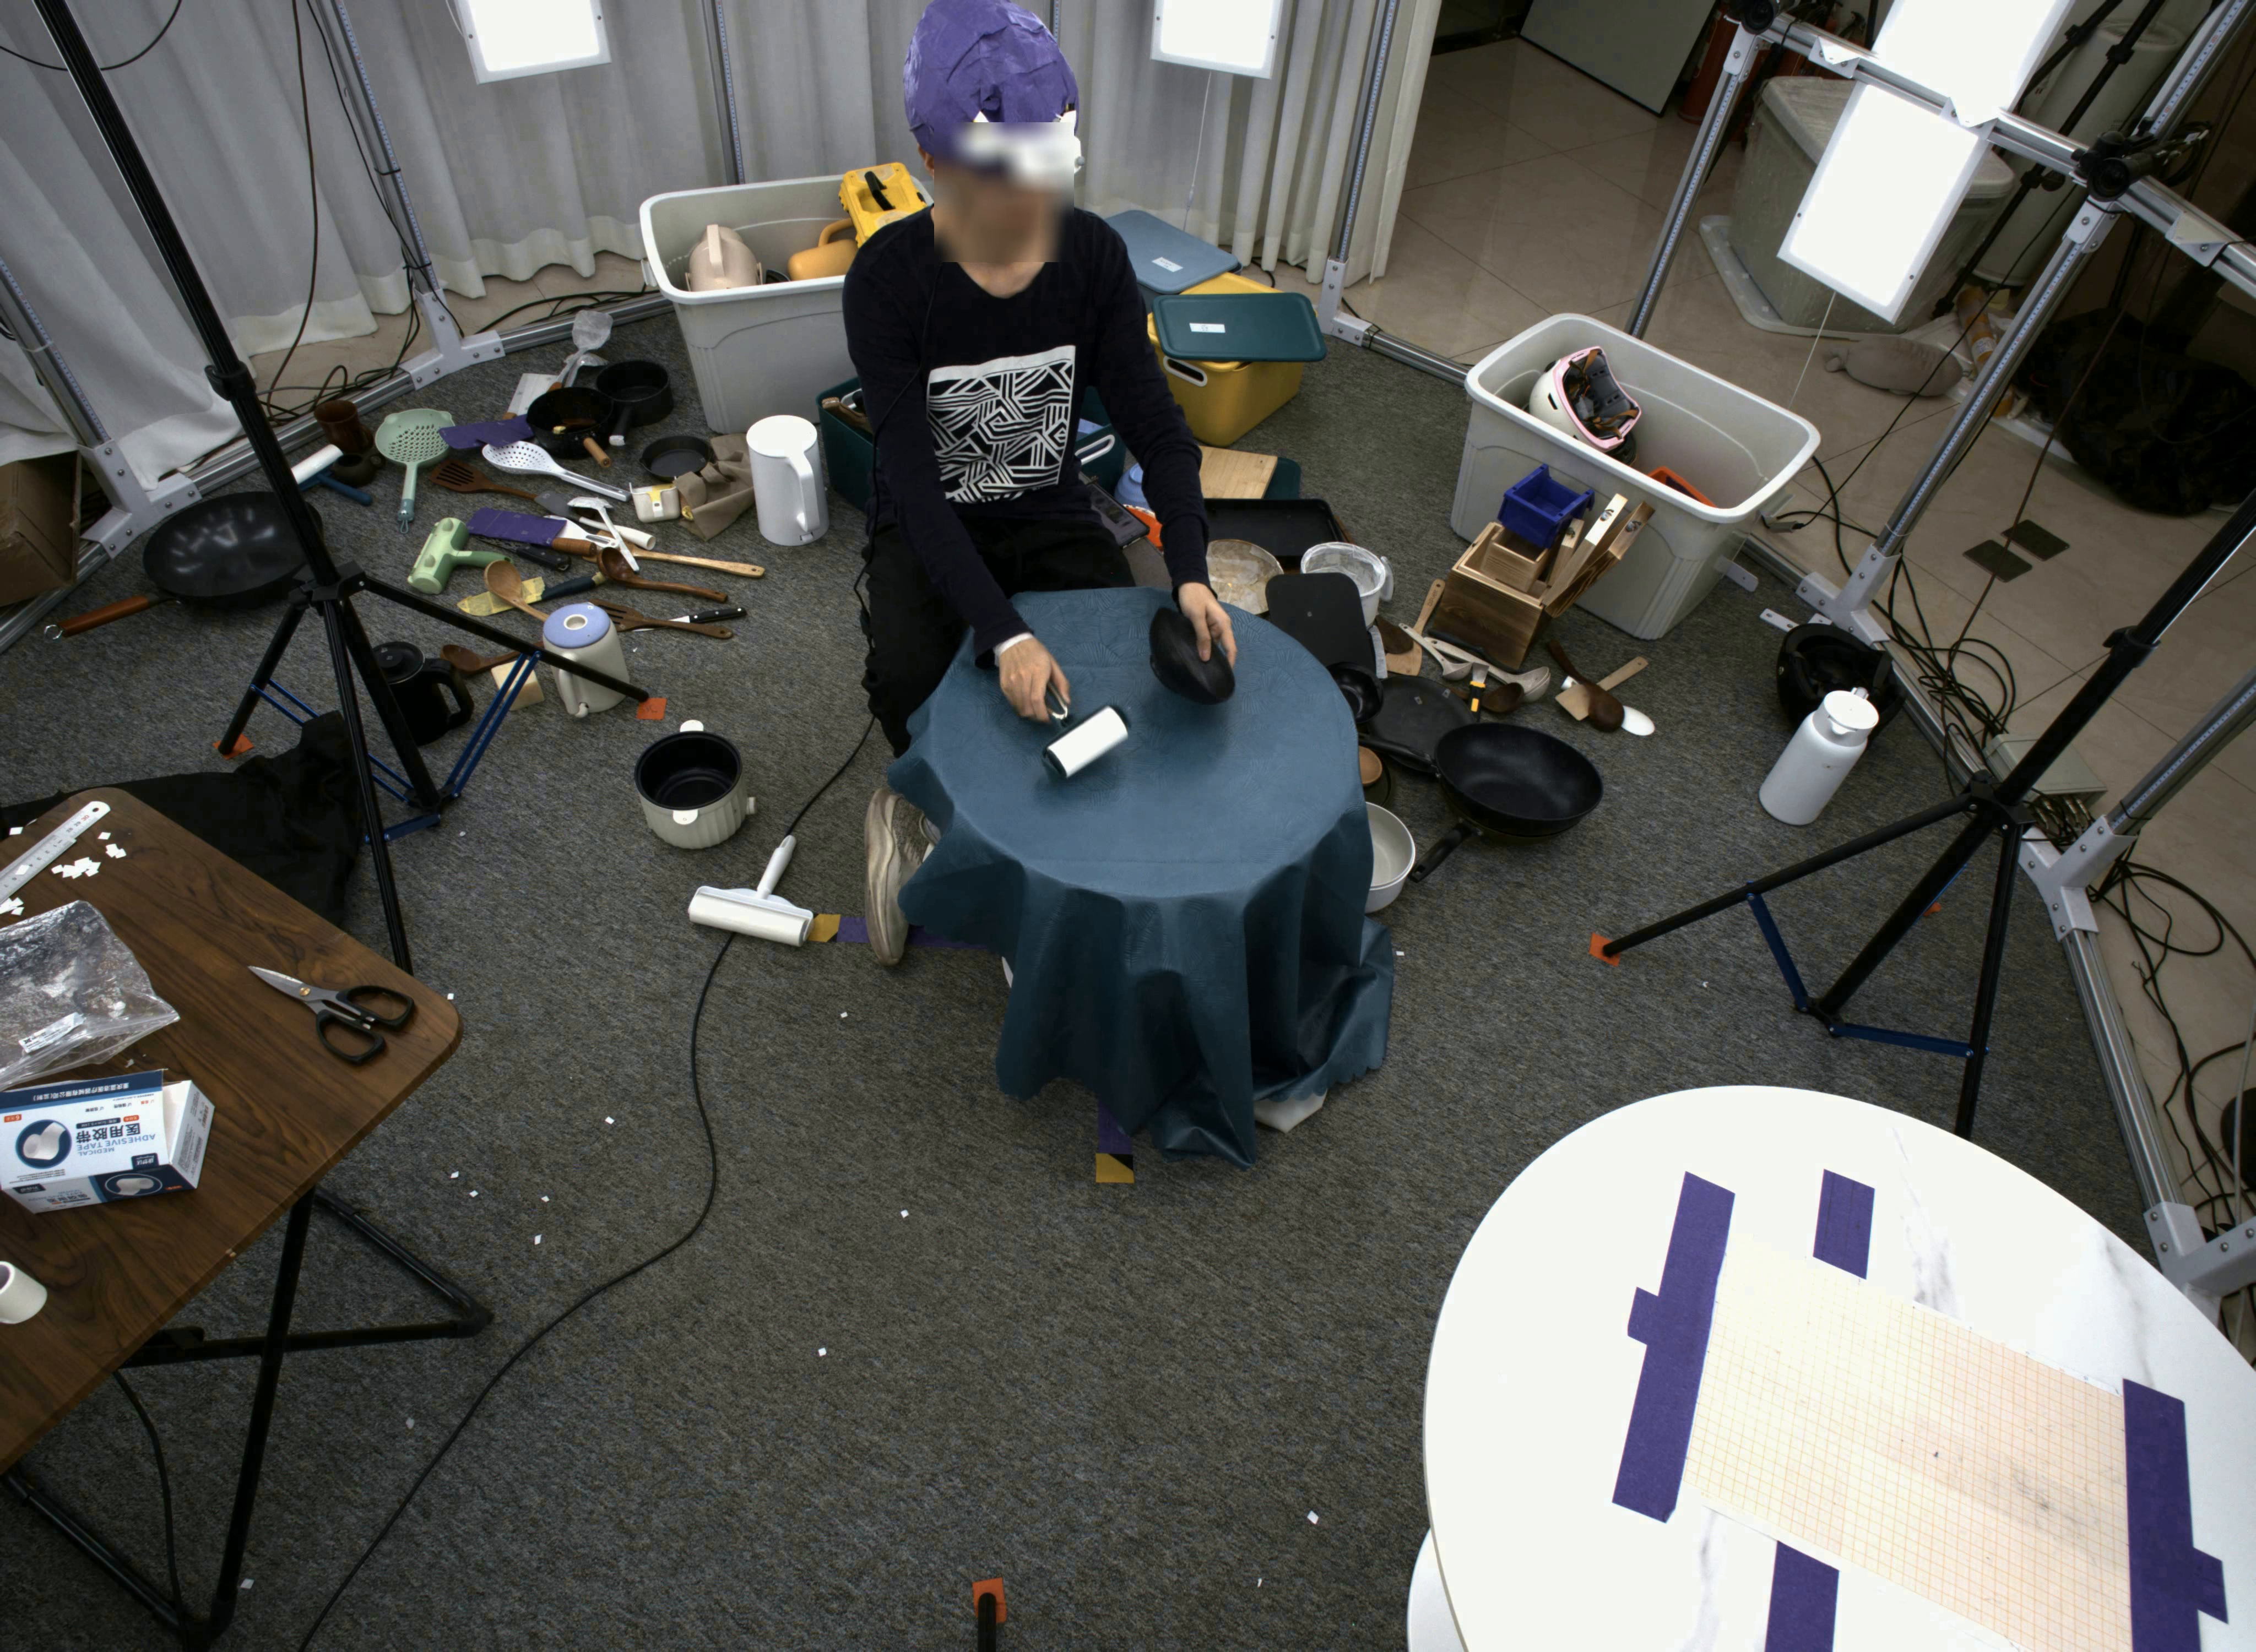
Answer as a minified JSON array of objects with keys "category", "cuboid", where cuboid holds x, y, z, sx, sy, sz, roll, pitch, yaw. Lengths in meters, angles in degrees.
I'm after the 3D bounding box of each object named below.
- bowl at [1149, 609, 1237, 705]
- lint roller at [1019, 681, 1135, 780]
[{"category":"bowl","cuboid":[0.076,-0.227,1.776,0.136,0.066,0.174,13,44,-48]},{"category":"lint roller","cuboid":[-0.094,-0.151,1.734,0.135,0.047,0.183,-34,61,-17]}]
